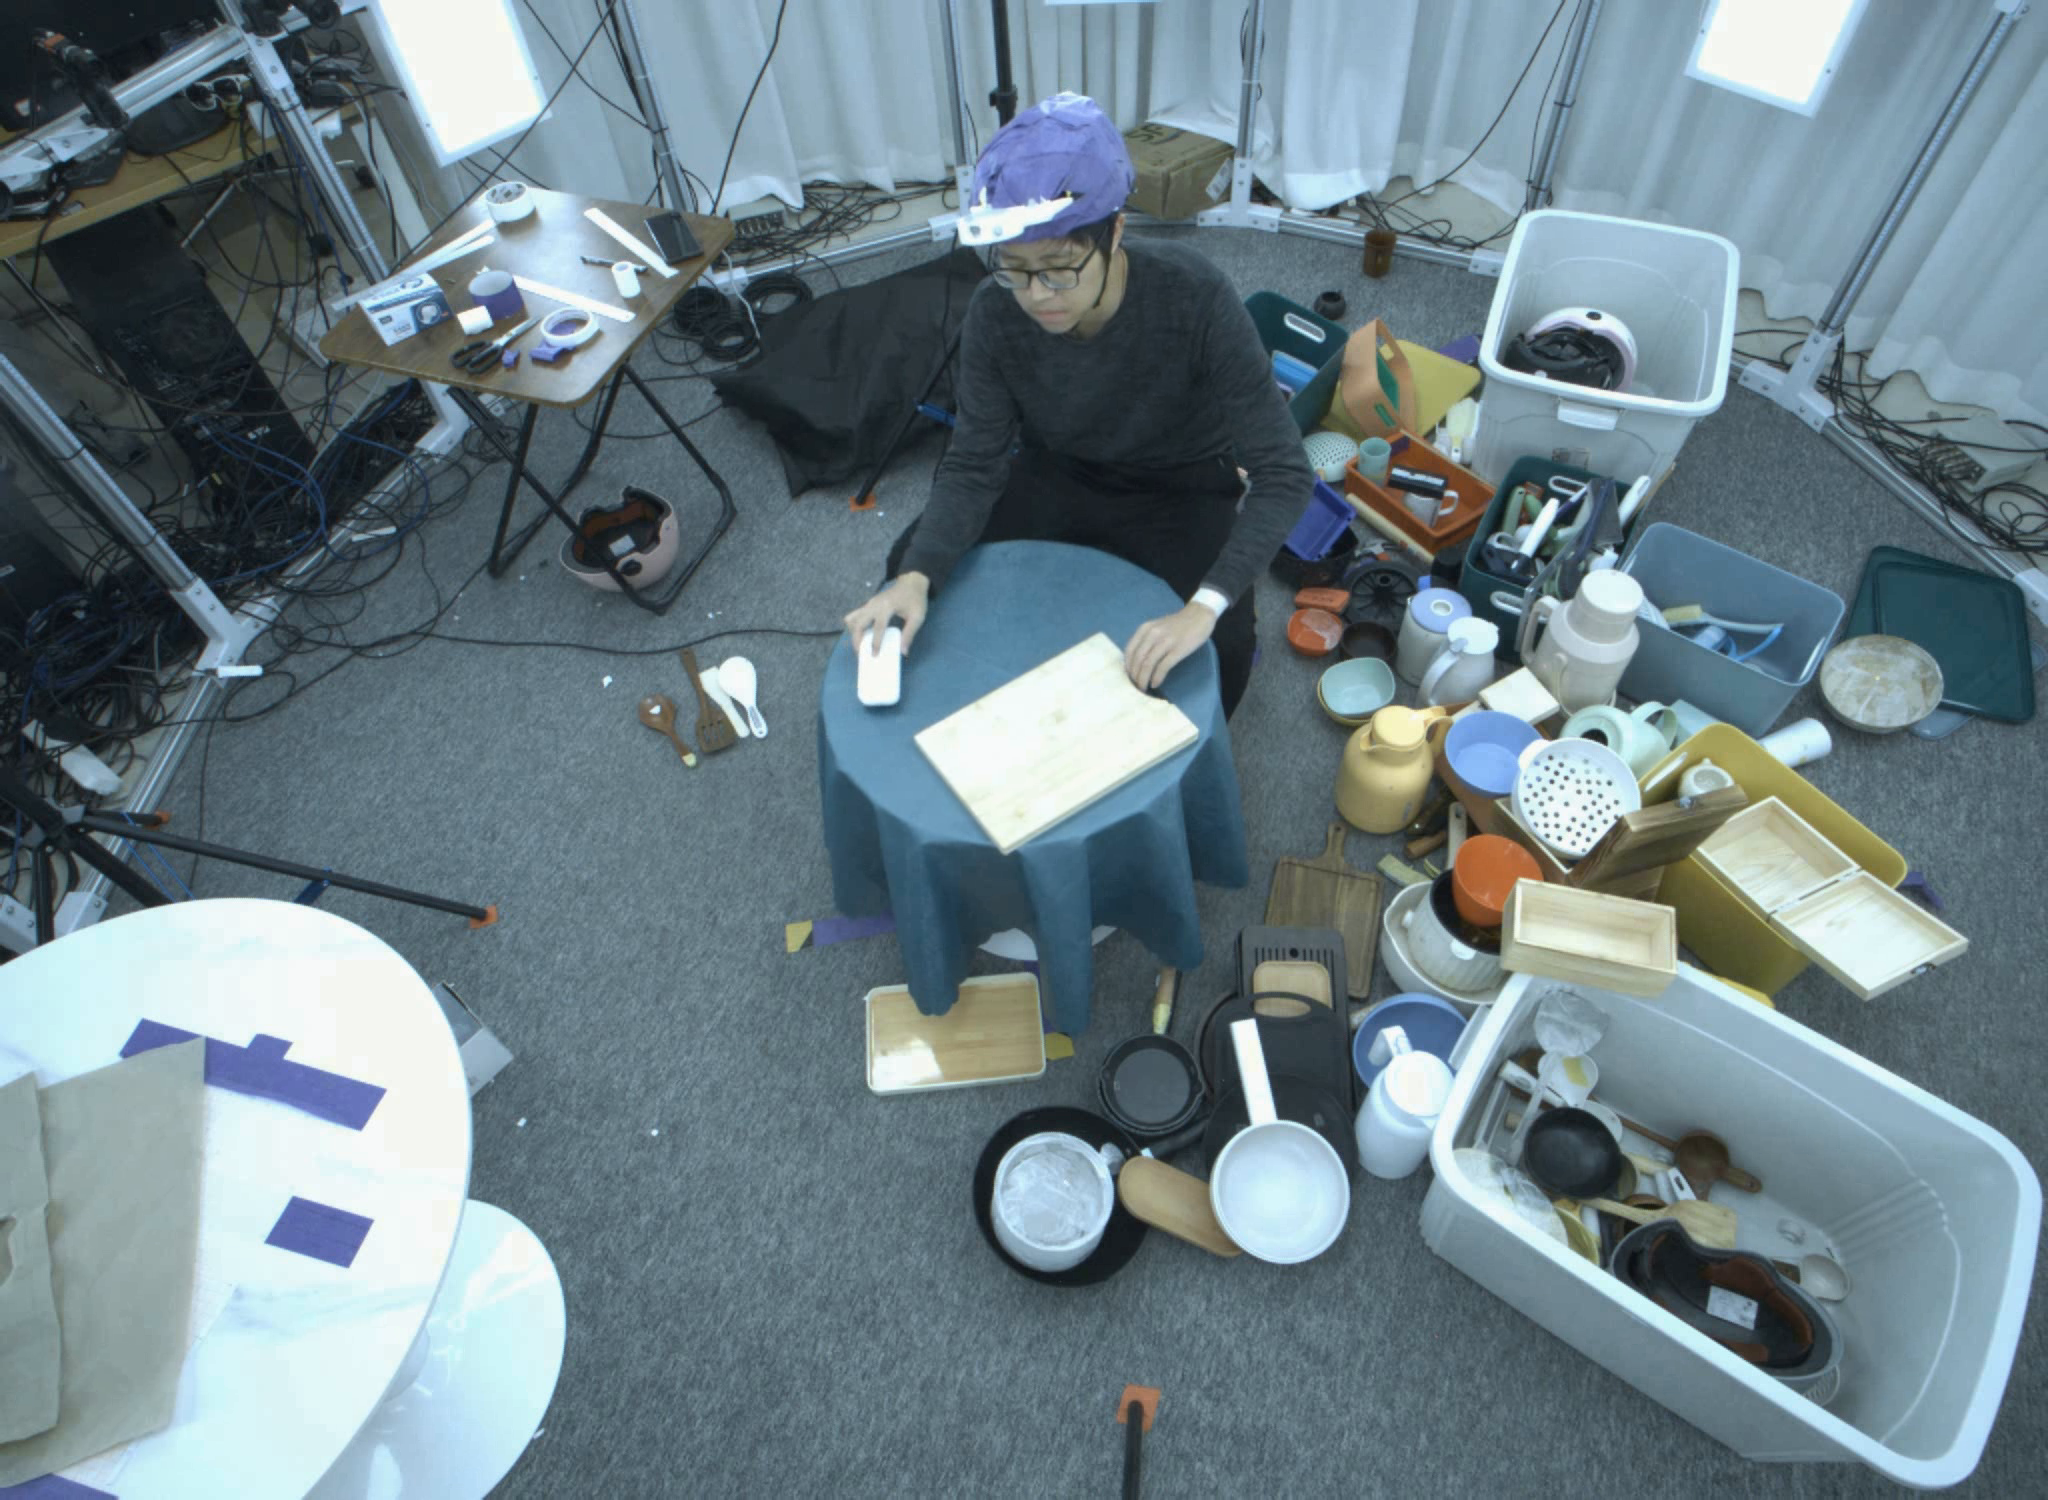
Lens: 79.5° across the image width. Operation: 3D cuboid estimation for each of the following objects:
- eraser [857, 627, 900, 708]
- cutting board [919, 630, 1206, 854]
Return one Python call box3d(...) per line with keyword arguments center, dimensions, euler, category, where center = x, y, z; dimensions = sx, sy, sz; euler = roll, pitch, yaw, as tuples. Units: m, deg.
box3d(center=(-0.218, -0.126, 1.850), dimensions=(0.063, 0.035, 0.130), euler=(-2, 66, 4), category="eraser")
box3d(center=(0.052, -0.021, 1.791), dimensions=(0.351, 0.024, 0.246), euler=(-31, 60, -18), category="cutting board")
